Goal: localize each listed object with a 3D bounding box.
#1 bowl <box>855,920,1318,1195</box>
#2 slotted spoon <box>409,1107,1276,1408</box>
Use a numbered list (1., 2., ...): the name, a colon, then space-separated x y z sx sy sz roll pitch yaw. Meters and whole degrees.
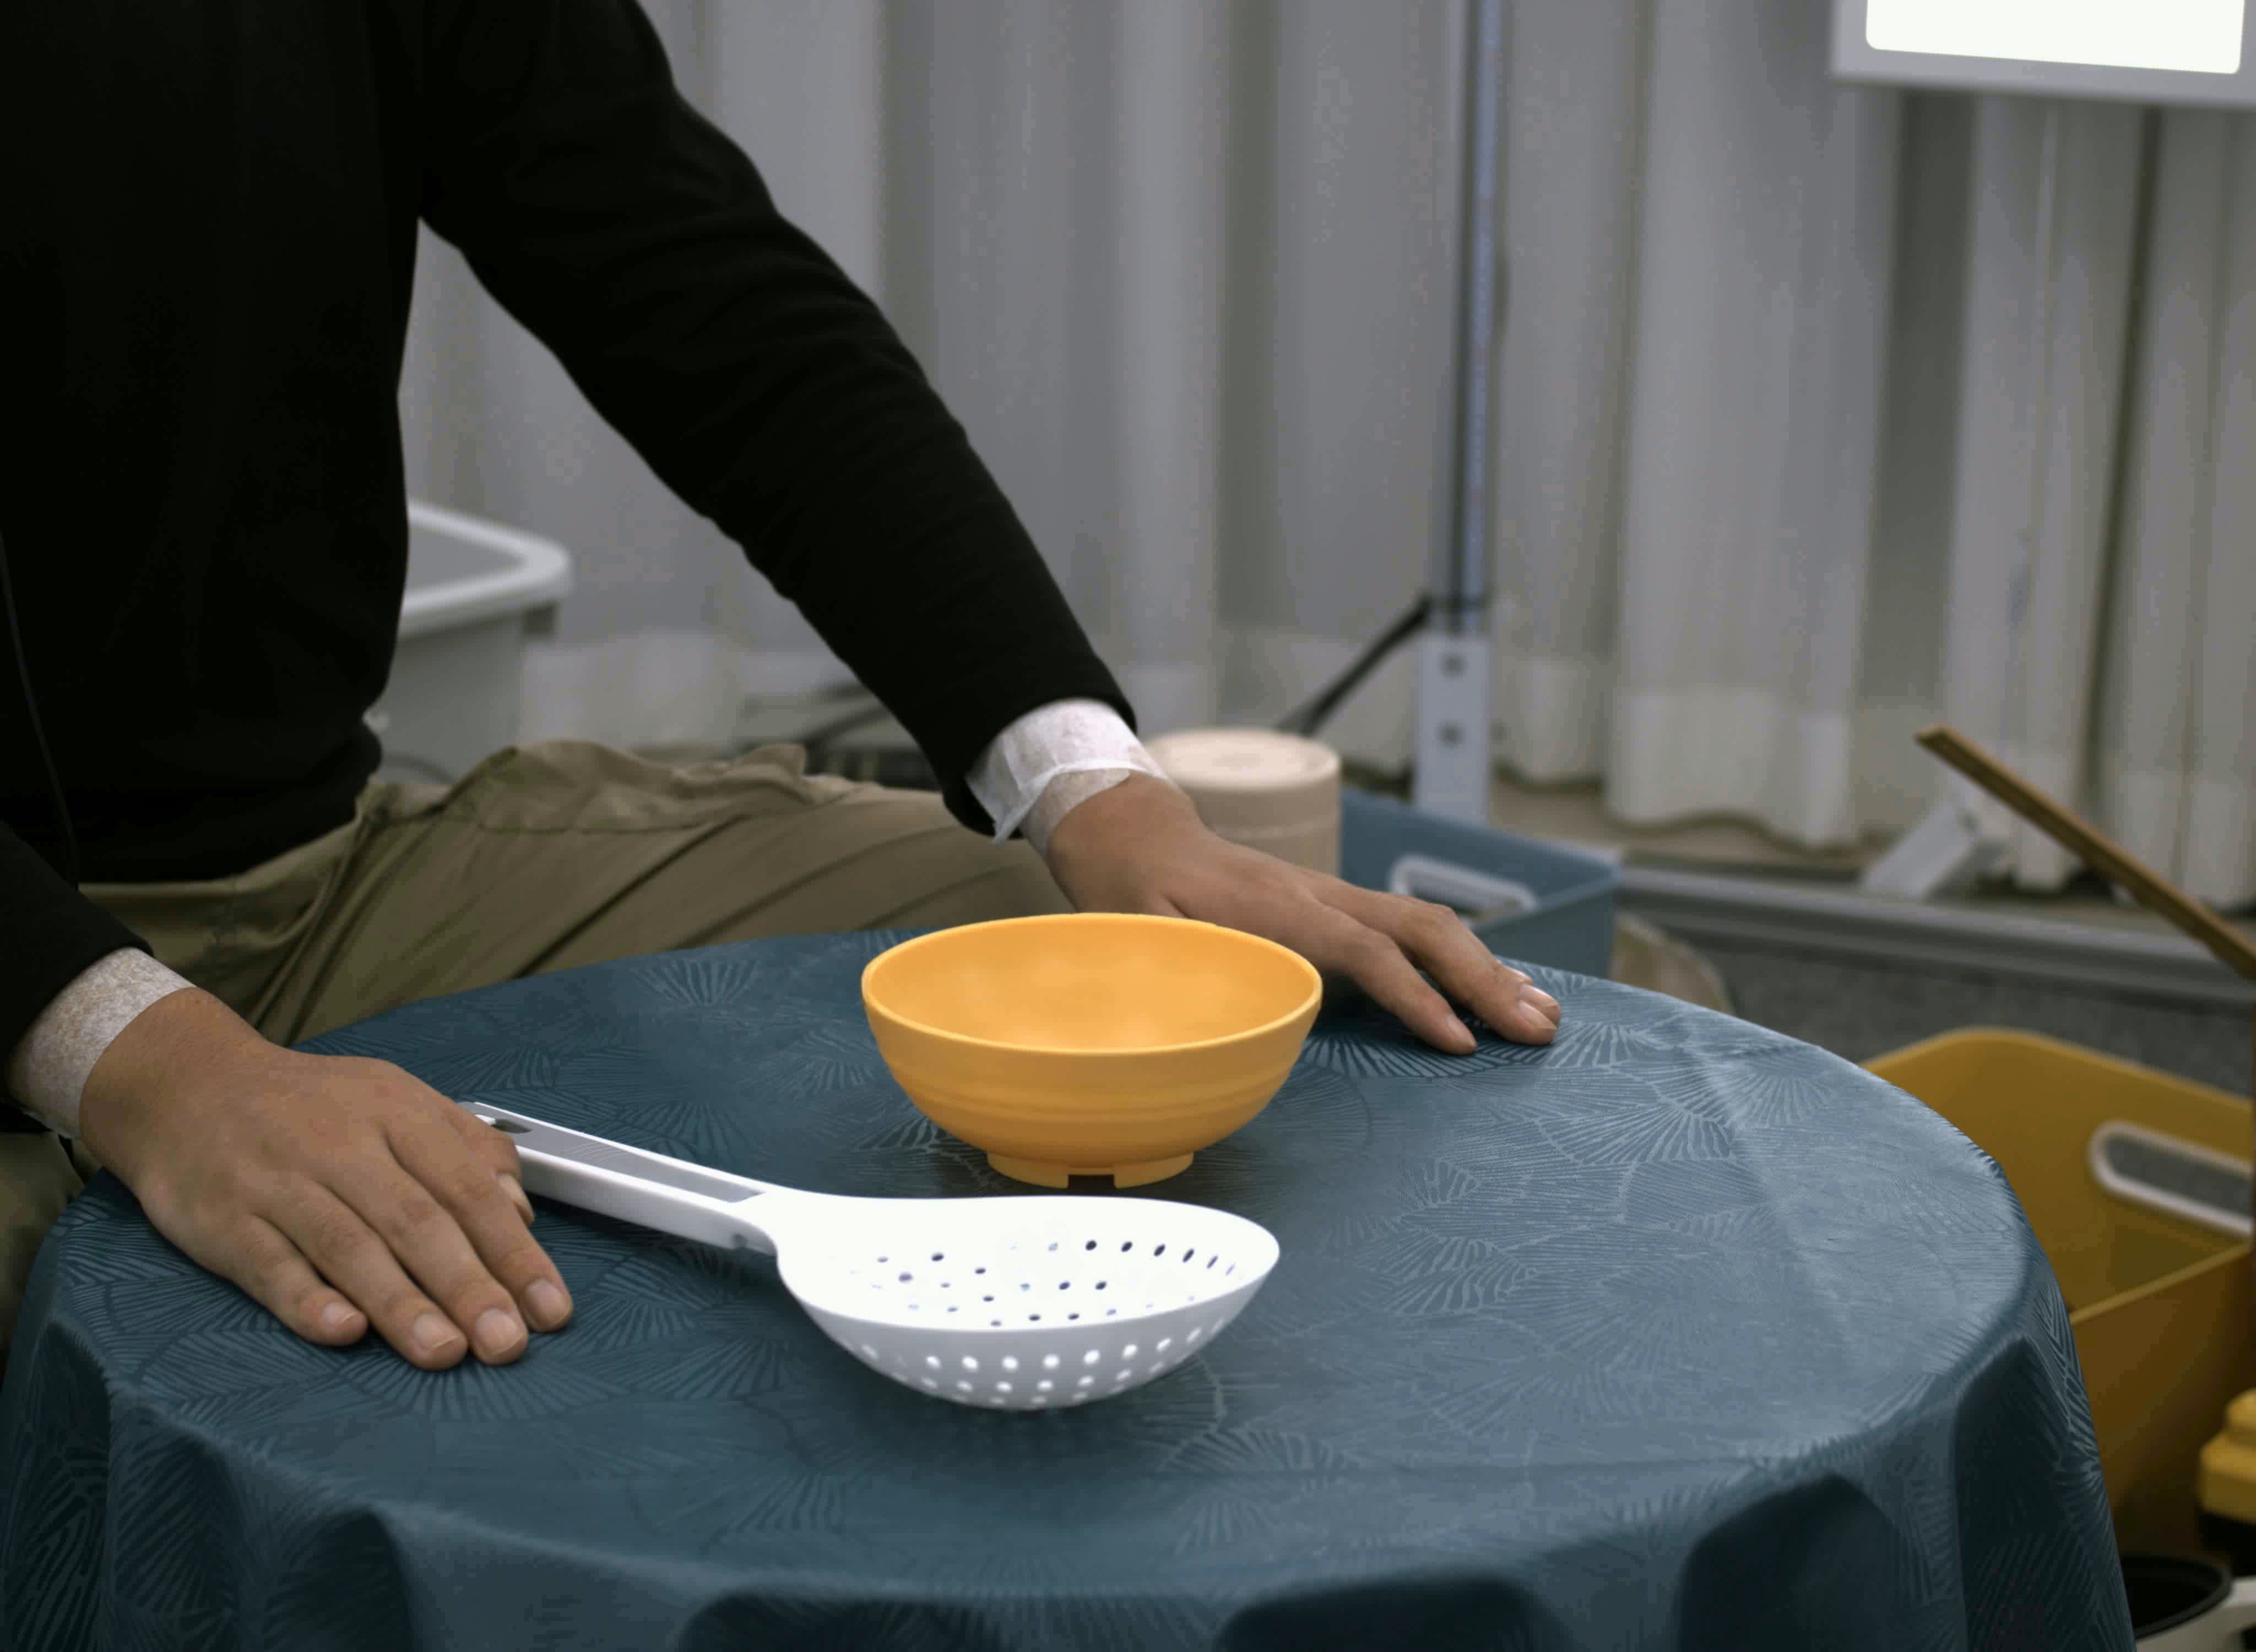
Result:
1. bowl: -0.014 0.077 1.645 0.145 0.060 0.144 2 15 0
2. slotted spoon: -0.099 0.115 1.523 0.137 0.046 0.345 -13 19 -42
